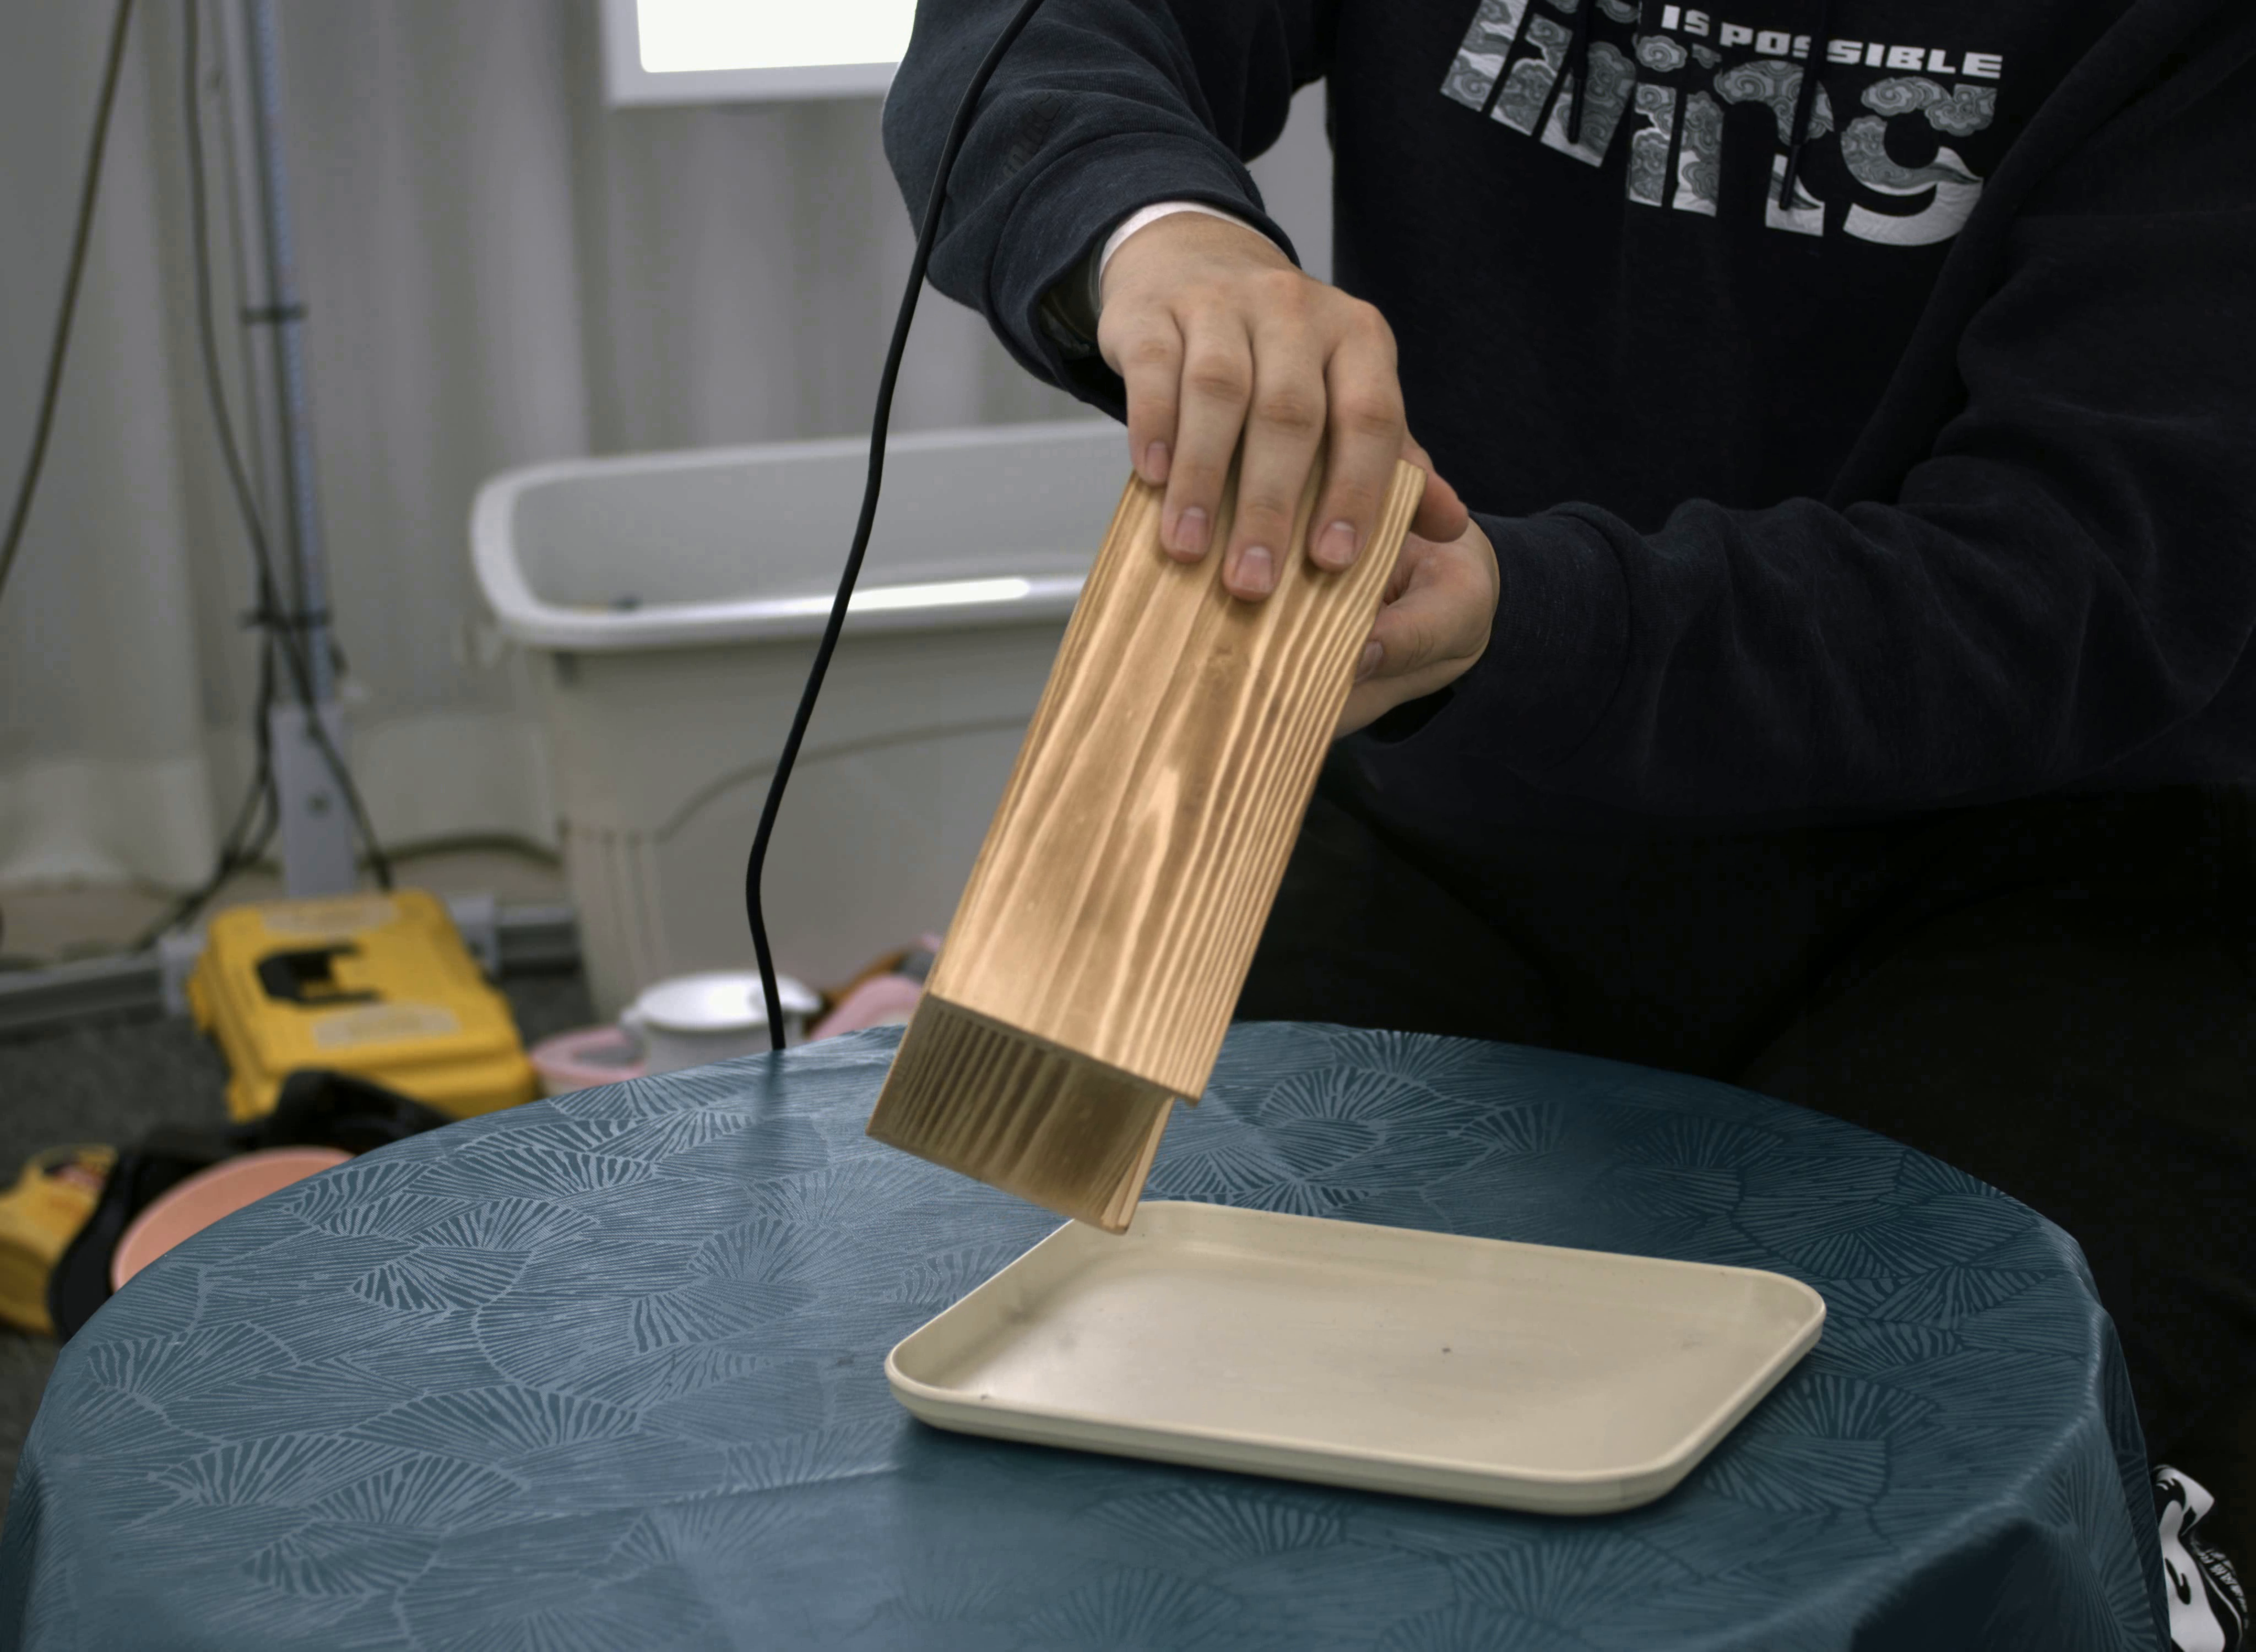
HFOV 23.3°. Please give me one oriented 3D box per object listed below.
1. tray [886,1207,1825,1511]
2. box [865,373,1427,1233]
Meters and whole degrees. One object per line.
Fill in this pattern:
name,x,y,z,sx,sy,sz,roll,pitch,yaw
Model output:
tray,0.065,0.150,1.542,0.240,0.017,0.171,4,16,26
box,0.005,-0.007,1.550,0.080,0.214,0.106,22,-28,-2
